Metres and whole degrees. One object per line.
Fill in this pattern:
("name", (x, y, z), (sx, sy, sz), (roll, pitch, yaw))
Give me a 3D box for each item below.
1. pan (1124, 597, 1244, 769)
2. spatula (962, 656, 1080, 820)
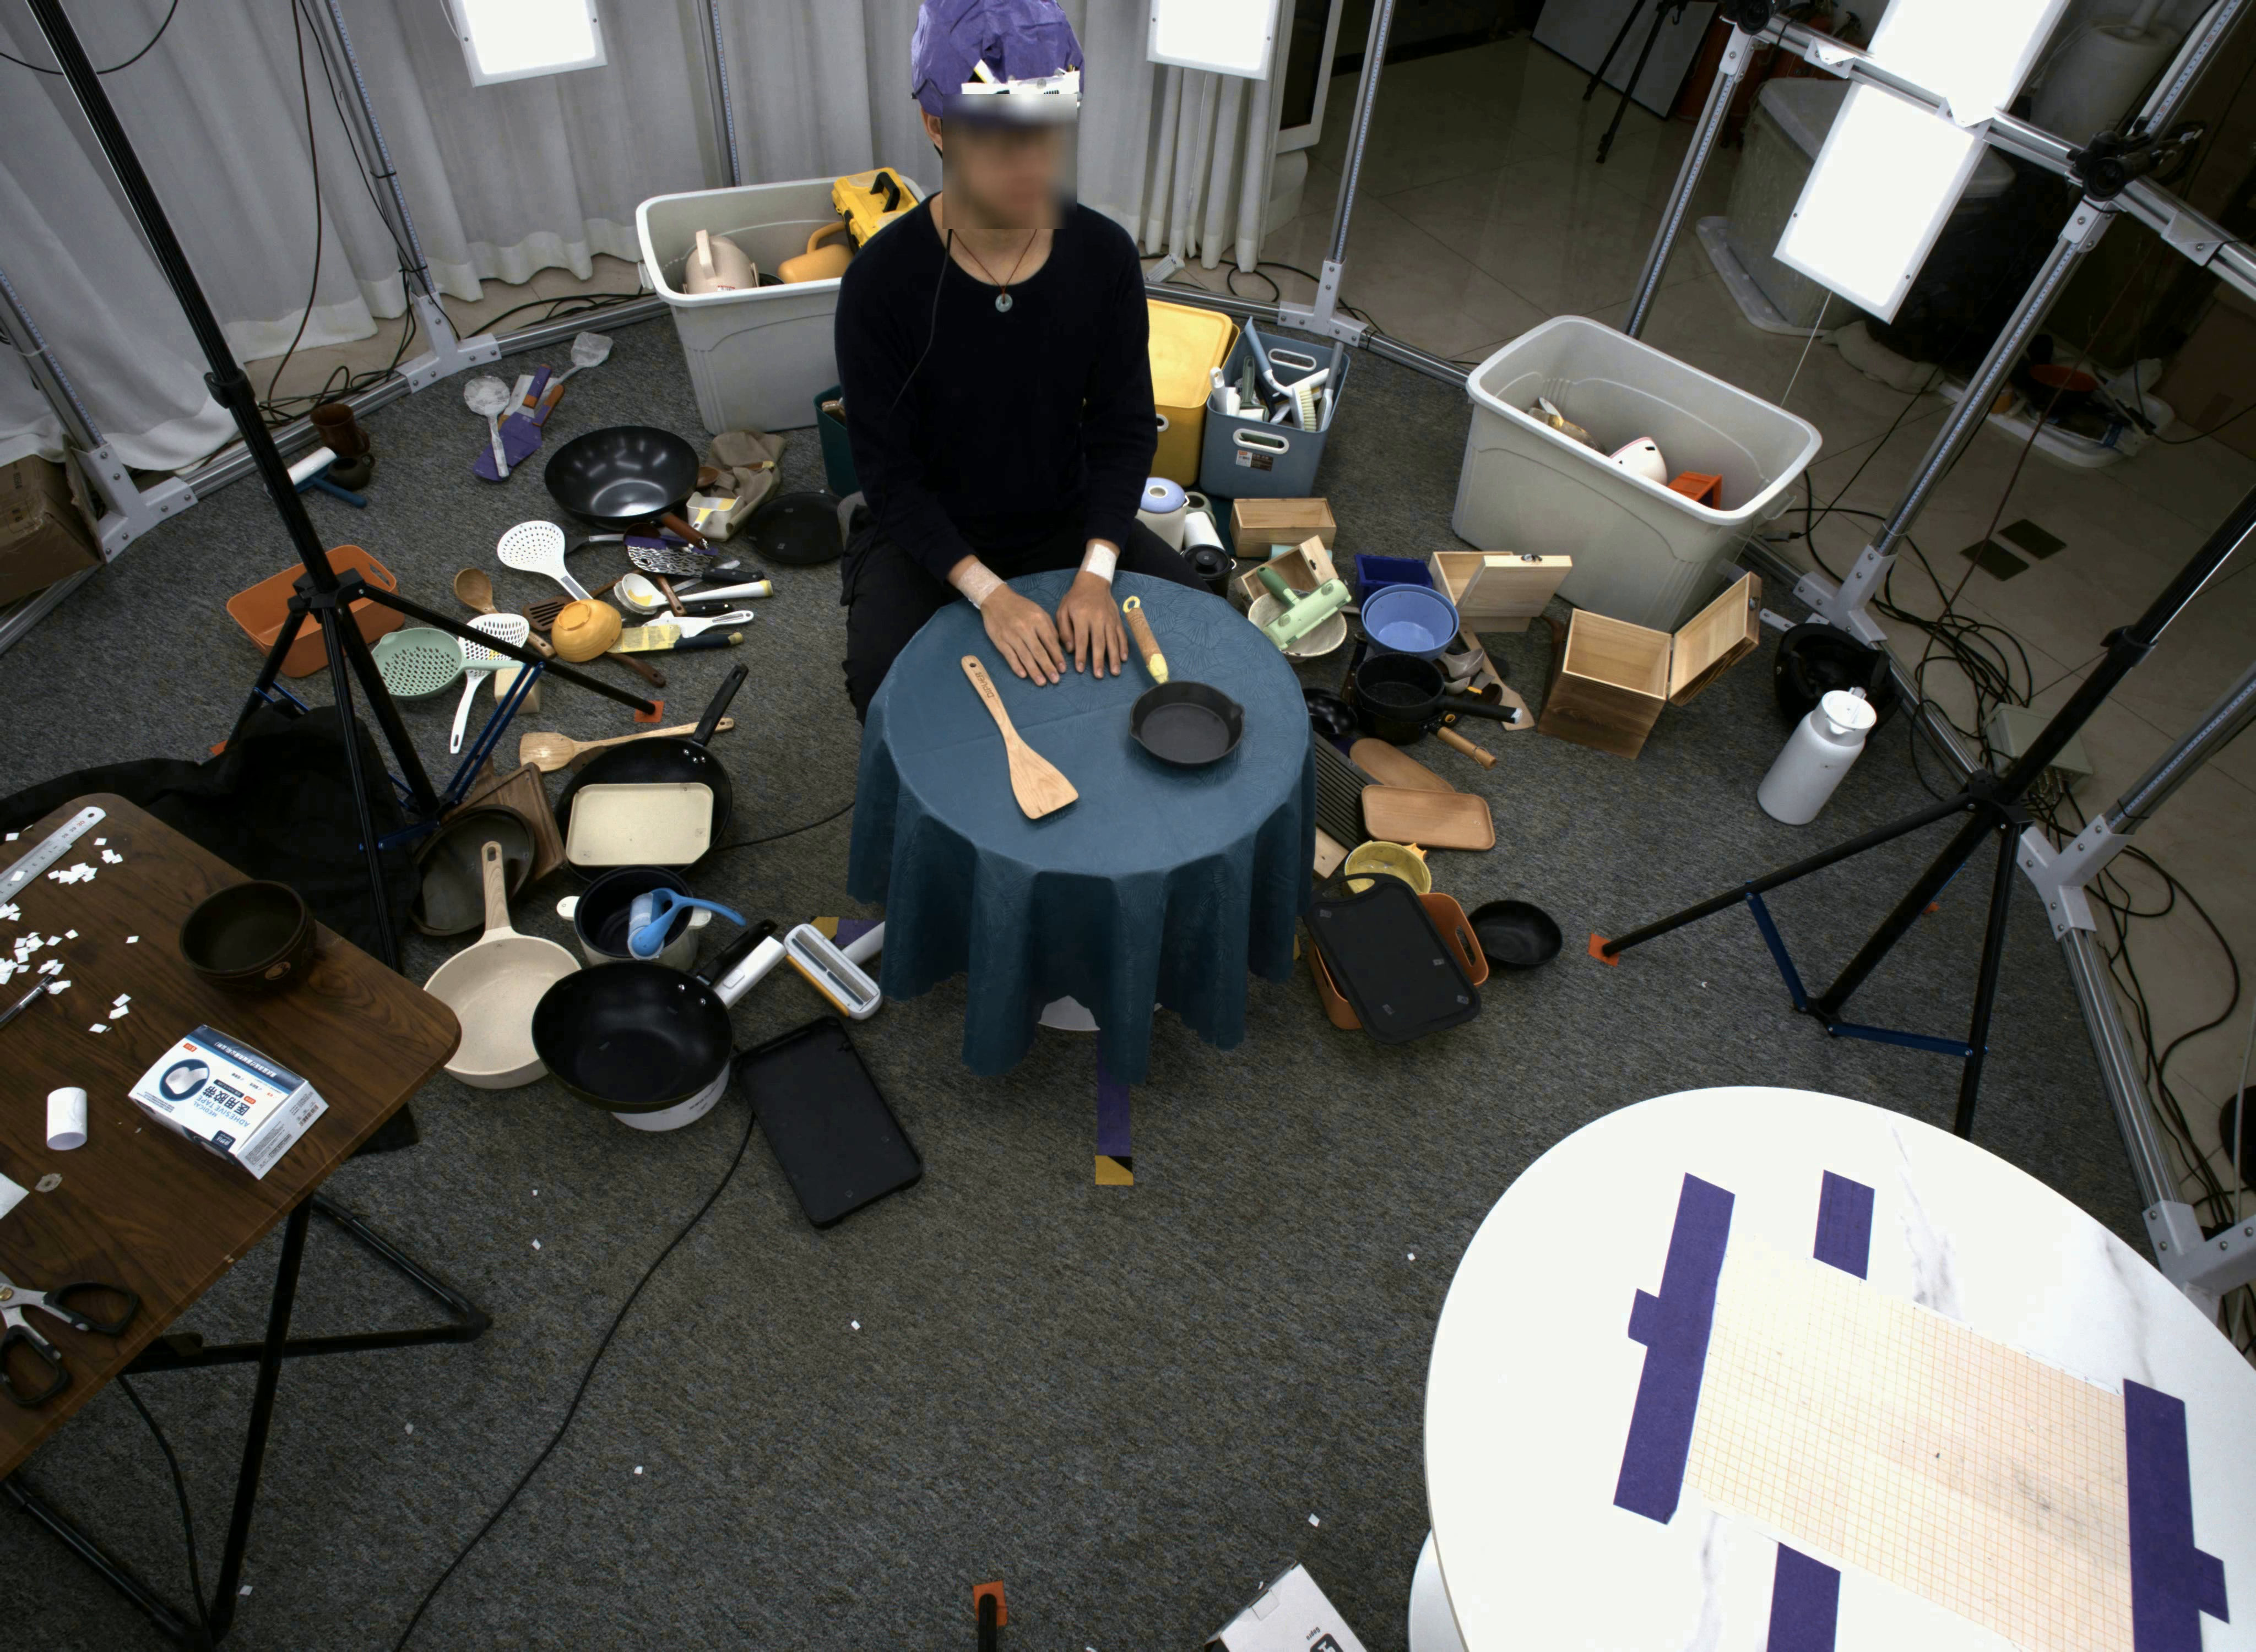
("pan", (0.055, -0.204, 1.817), (0.169, 0.048, 0.332), (-12, 52, -14))
("spatula", (-0.160, -0.130, 1.760), (0.080, 0.016, 0.335), (-17, 52, -19))
